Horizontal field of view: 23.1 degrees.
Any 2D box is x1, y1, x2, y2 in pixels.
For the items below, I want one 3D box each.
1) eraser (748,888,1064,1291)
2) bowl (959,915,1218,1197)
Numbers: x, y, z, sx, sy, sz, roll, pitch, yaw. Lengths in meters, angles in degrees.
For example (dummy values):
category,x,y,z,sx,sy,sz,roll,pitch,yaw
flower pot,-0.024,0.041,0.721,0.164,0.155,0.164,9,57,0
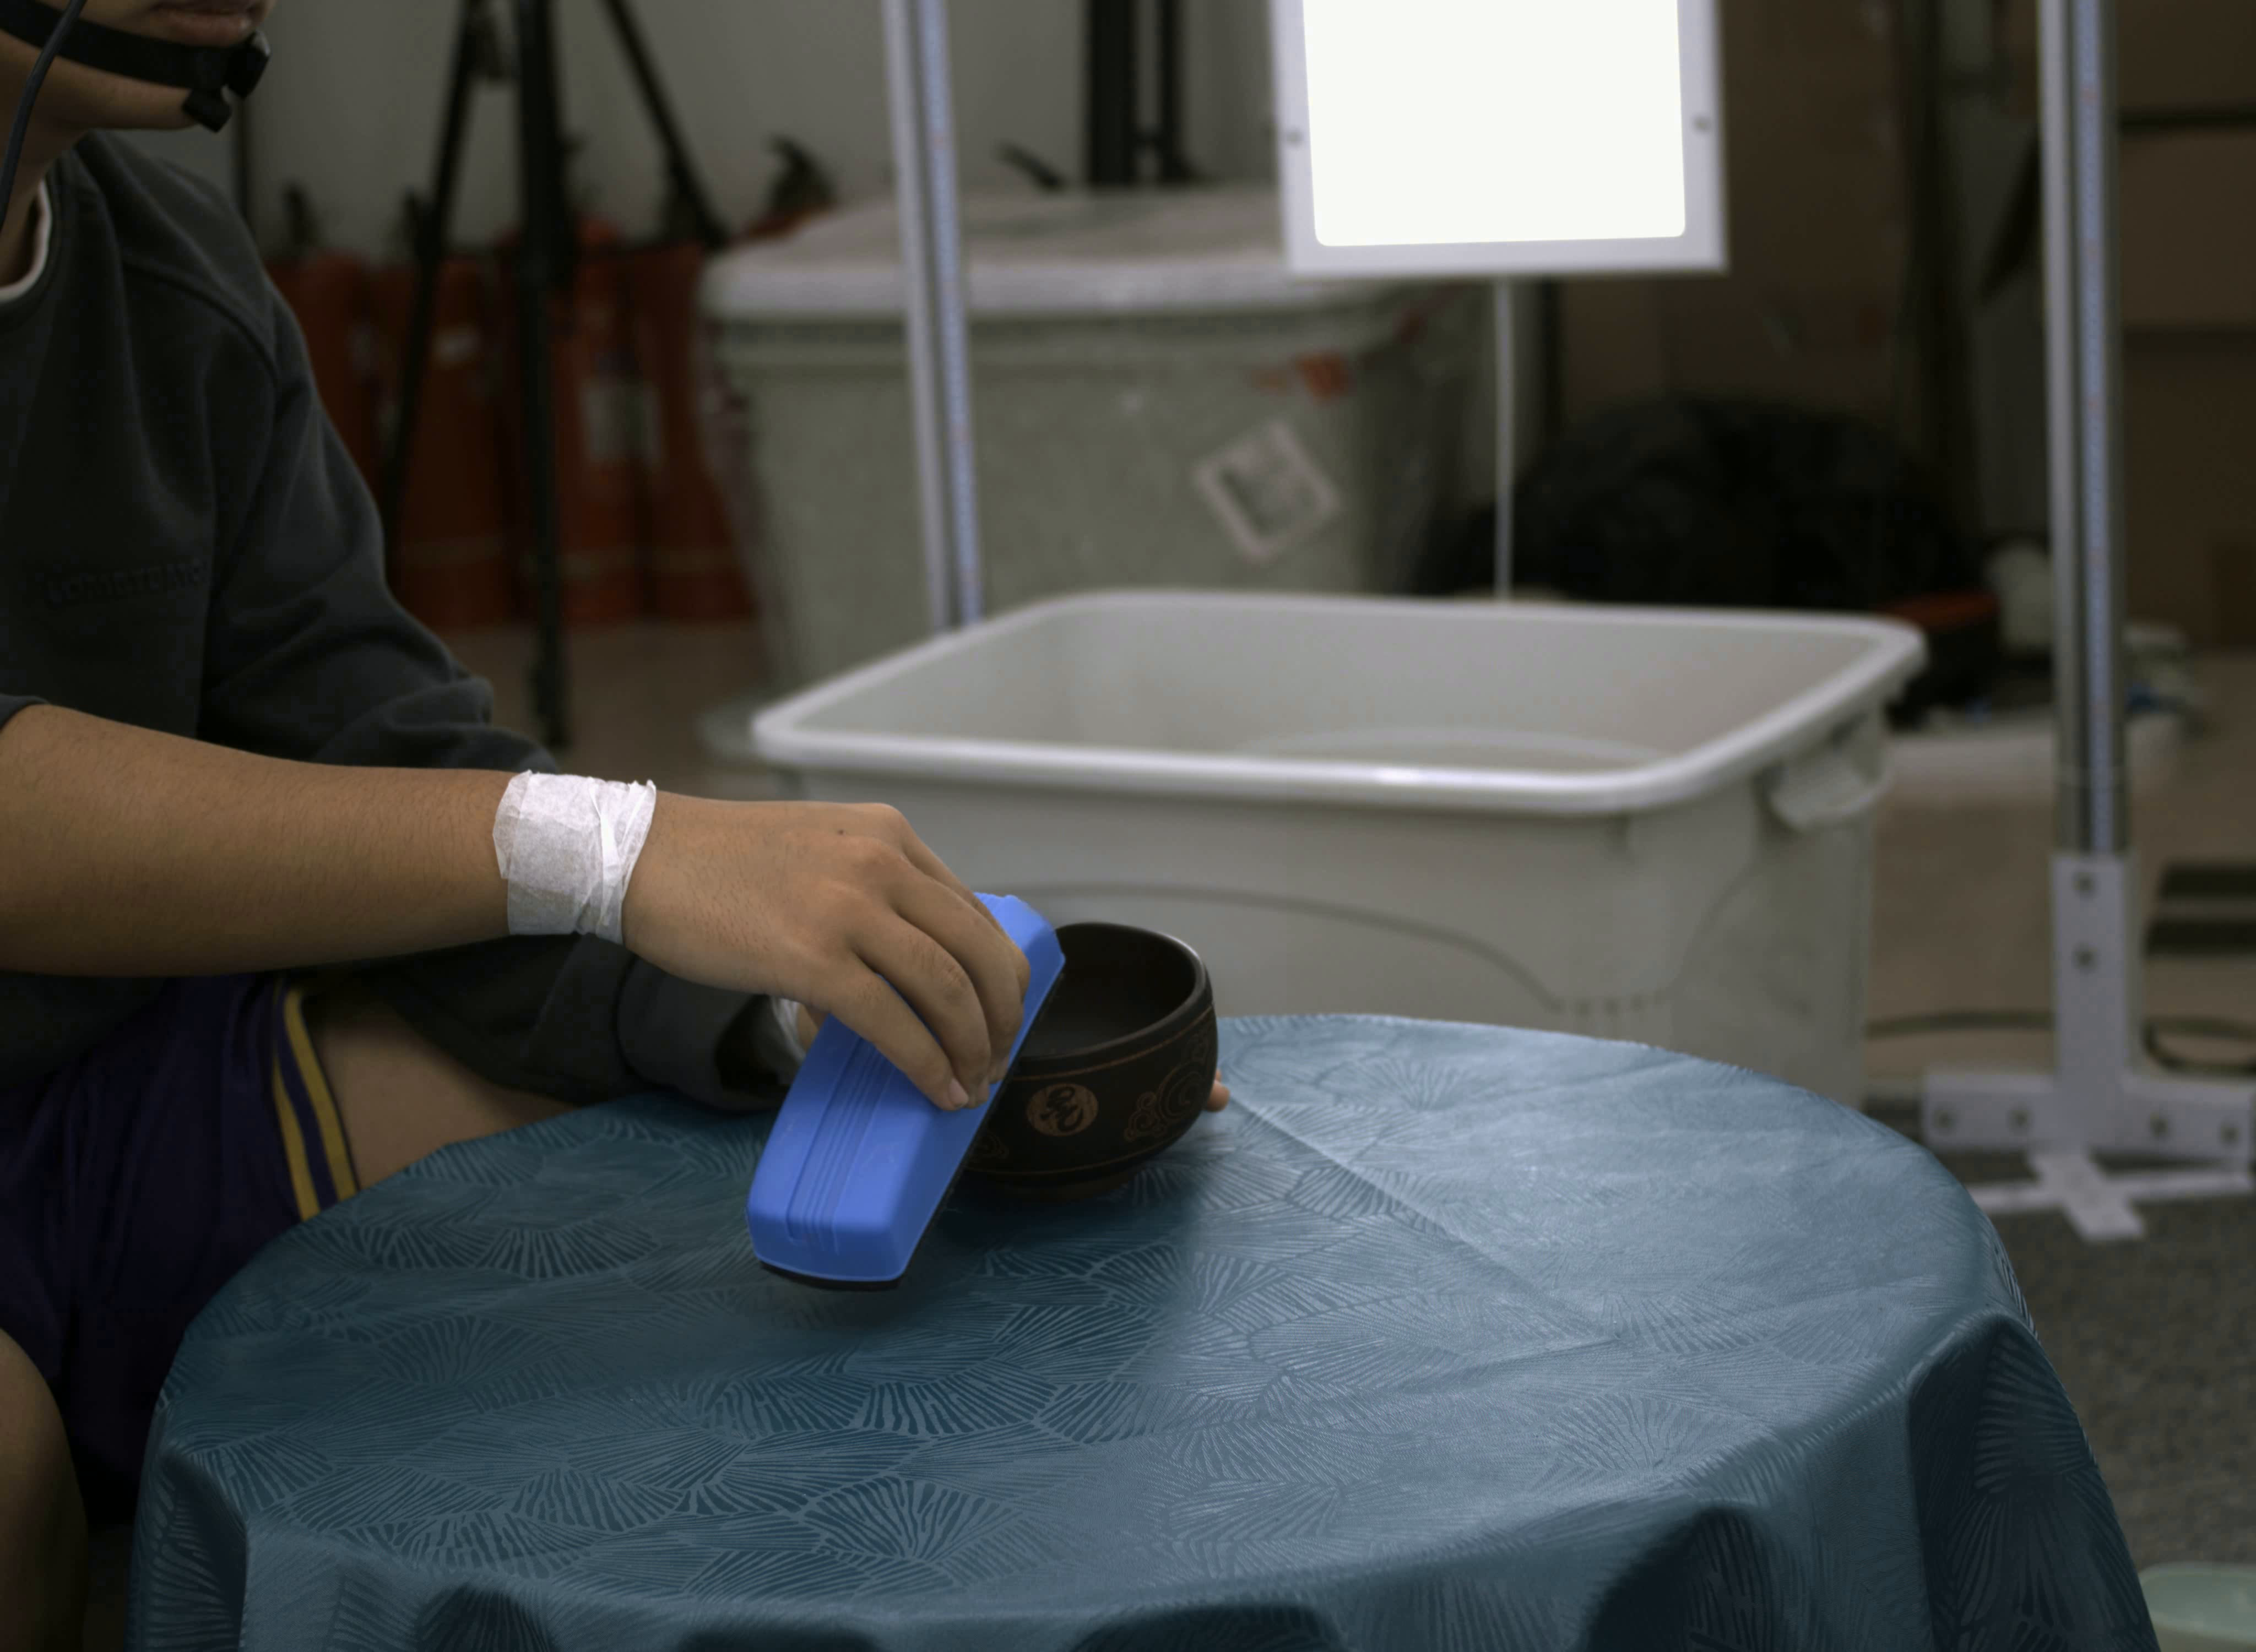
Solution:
category,x,y,z,sx,sy,sz,roll,pitch,yaw
eraser,-0.073,0.081,1.817,0.054,0.047,0.160,8,45,20
bowl,-0.026,0.085,1.905,0.118,0.070,0.118,-8,23,2
